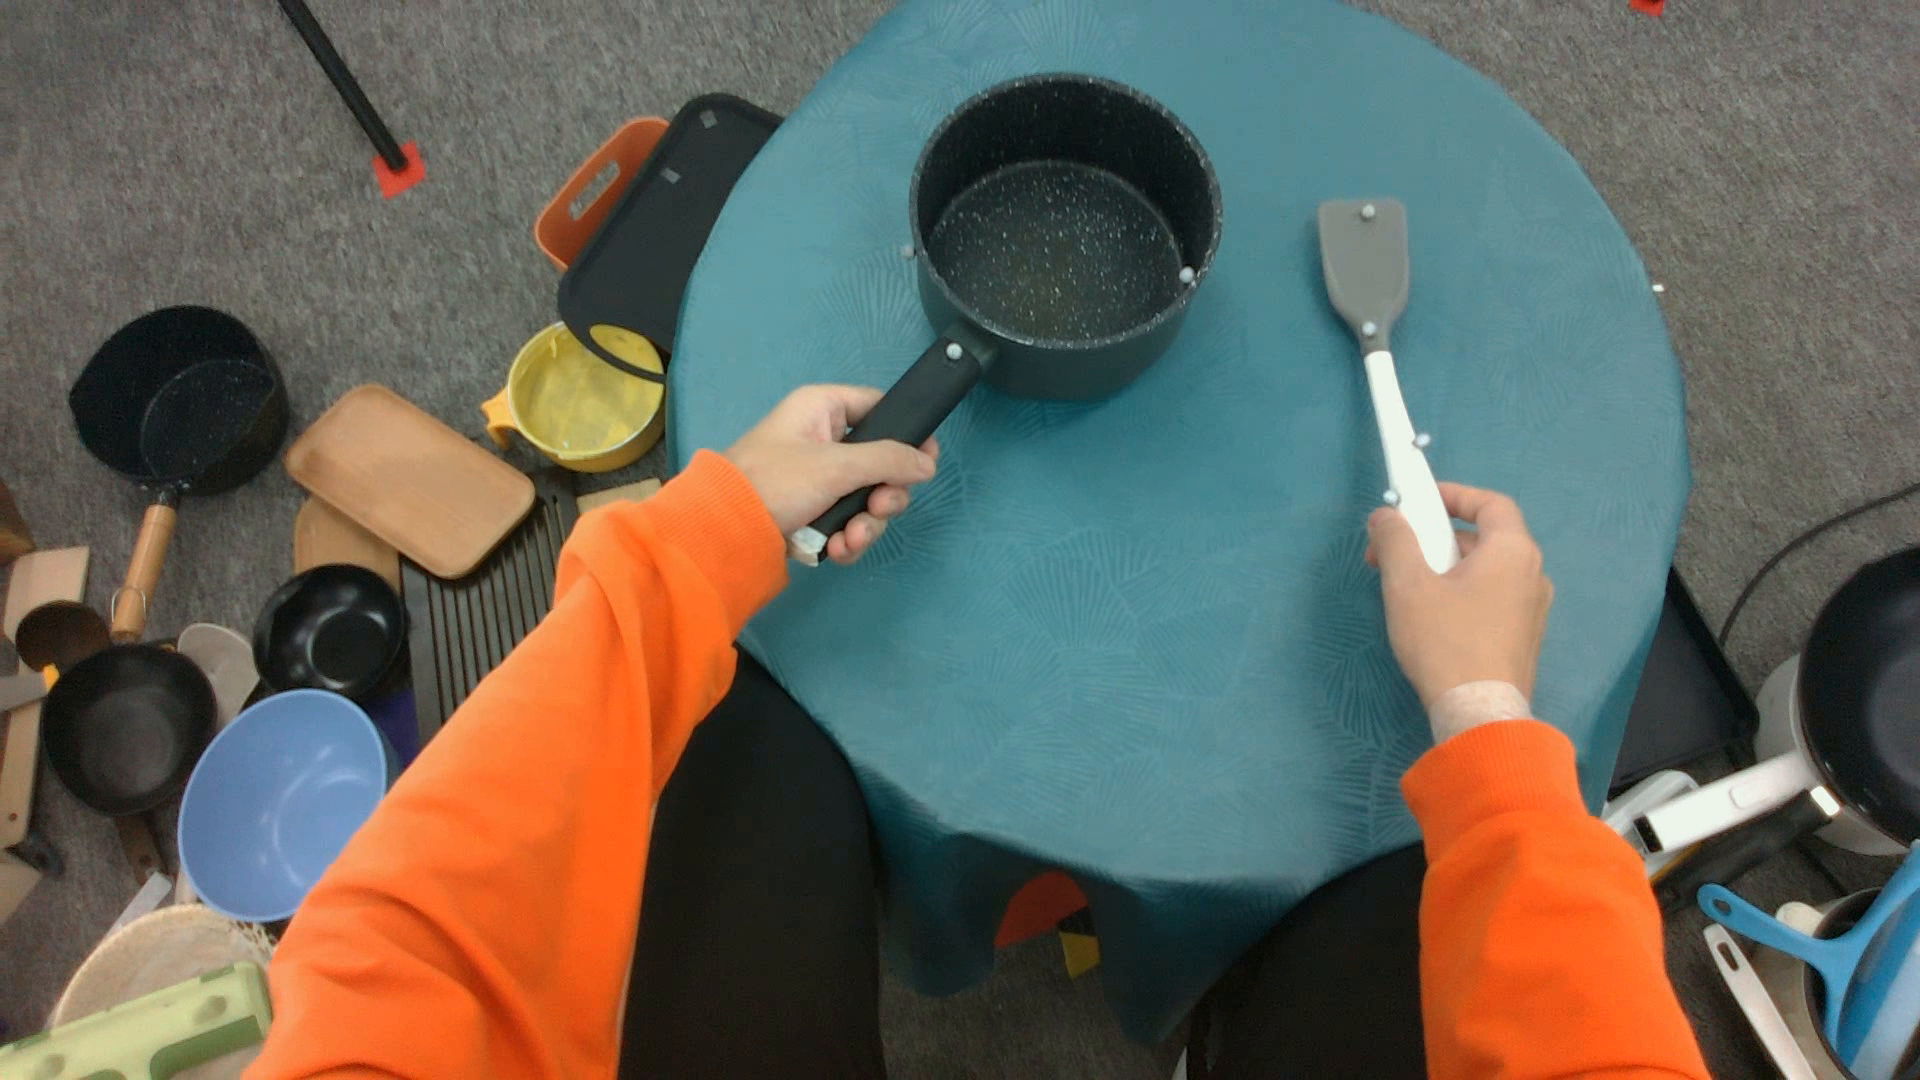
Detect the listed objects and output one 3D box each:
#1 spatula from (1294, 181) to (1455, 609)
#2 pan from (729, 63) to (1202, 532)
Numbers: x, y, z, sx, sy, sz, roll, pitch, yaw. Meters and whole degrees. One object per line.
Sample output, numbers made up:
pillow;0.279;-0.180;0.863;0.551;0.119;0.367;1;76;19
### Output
spatula;0.235;-0.094;0.784;0.058;0.032;0.289;-4;59;5
pan;-0.002;-0.119;0.756;0.172;0.086;0.330;36;71;12
